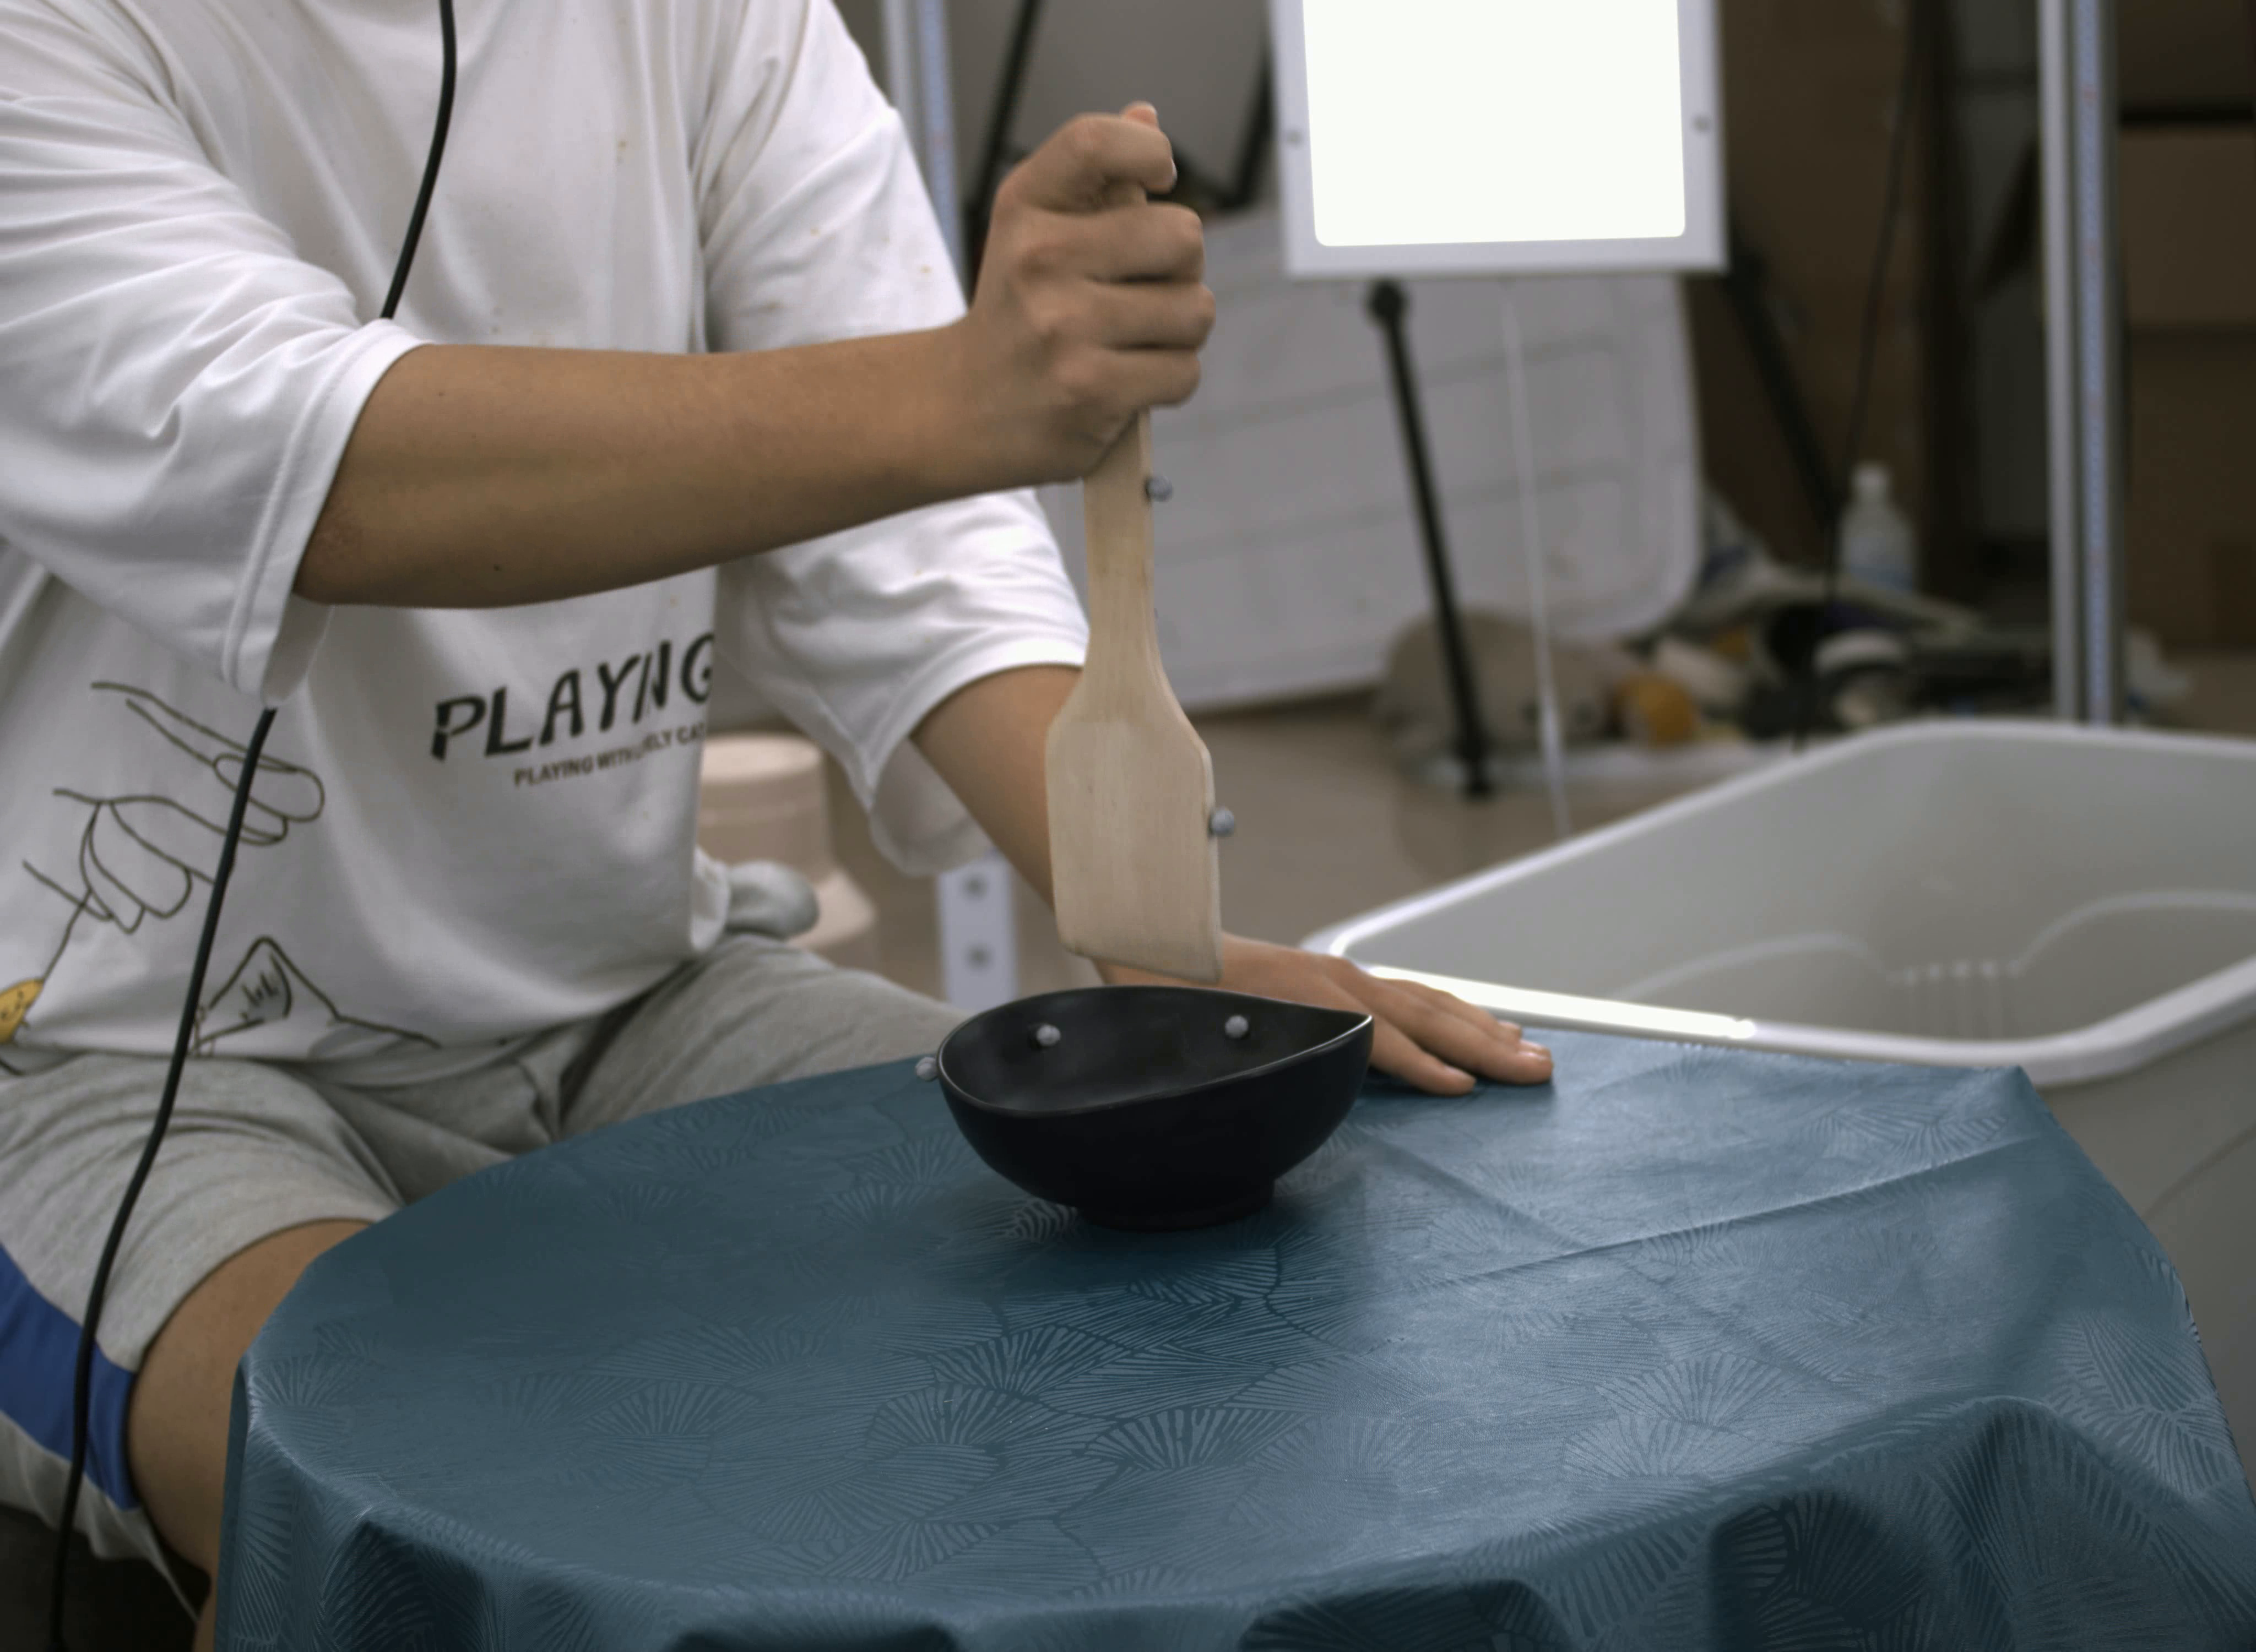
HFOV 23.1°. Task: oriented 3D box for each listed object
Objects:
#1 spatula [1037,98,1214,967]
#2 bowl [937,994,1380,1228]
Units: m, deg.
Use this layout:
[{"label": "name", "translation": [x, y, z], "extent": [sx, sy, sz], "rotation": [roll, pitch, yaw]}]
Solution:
[{"label": "spatula", "translation": [-0.004, -0.095, 1.825], "extent": [0.074, 0.294, 0.010], "rotation": [12, 22, 39]}, {"label": "bowl", "translation": [0.013, 0.098, 1.878], "extent": [0.140, 0.067, 0.166], "rotation": [6, 16, 40]}]
